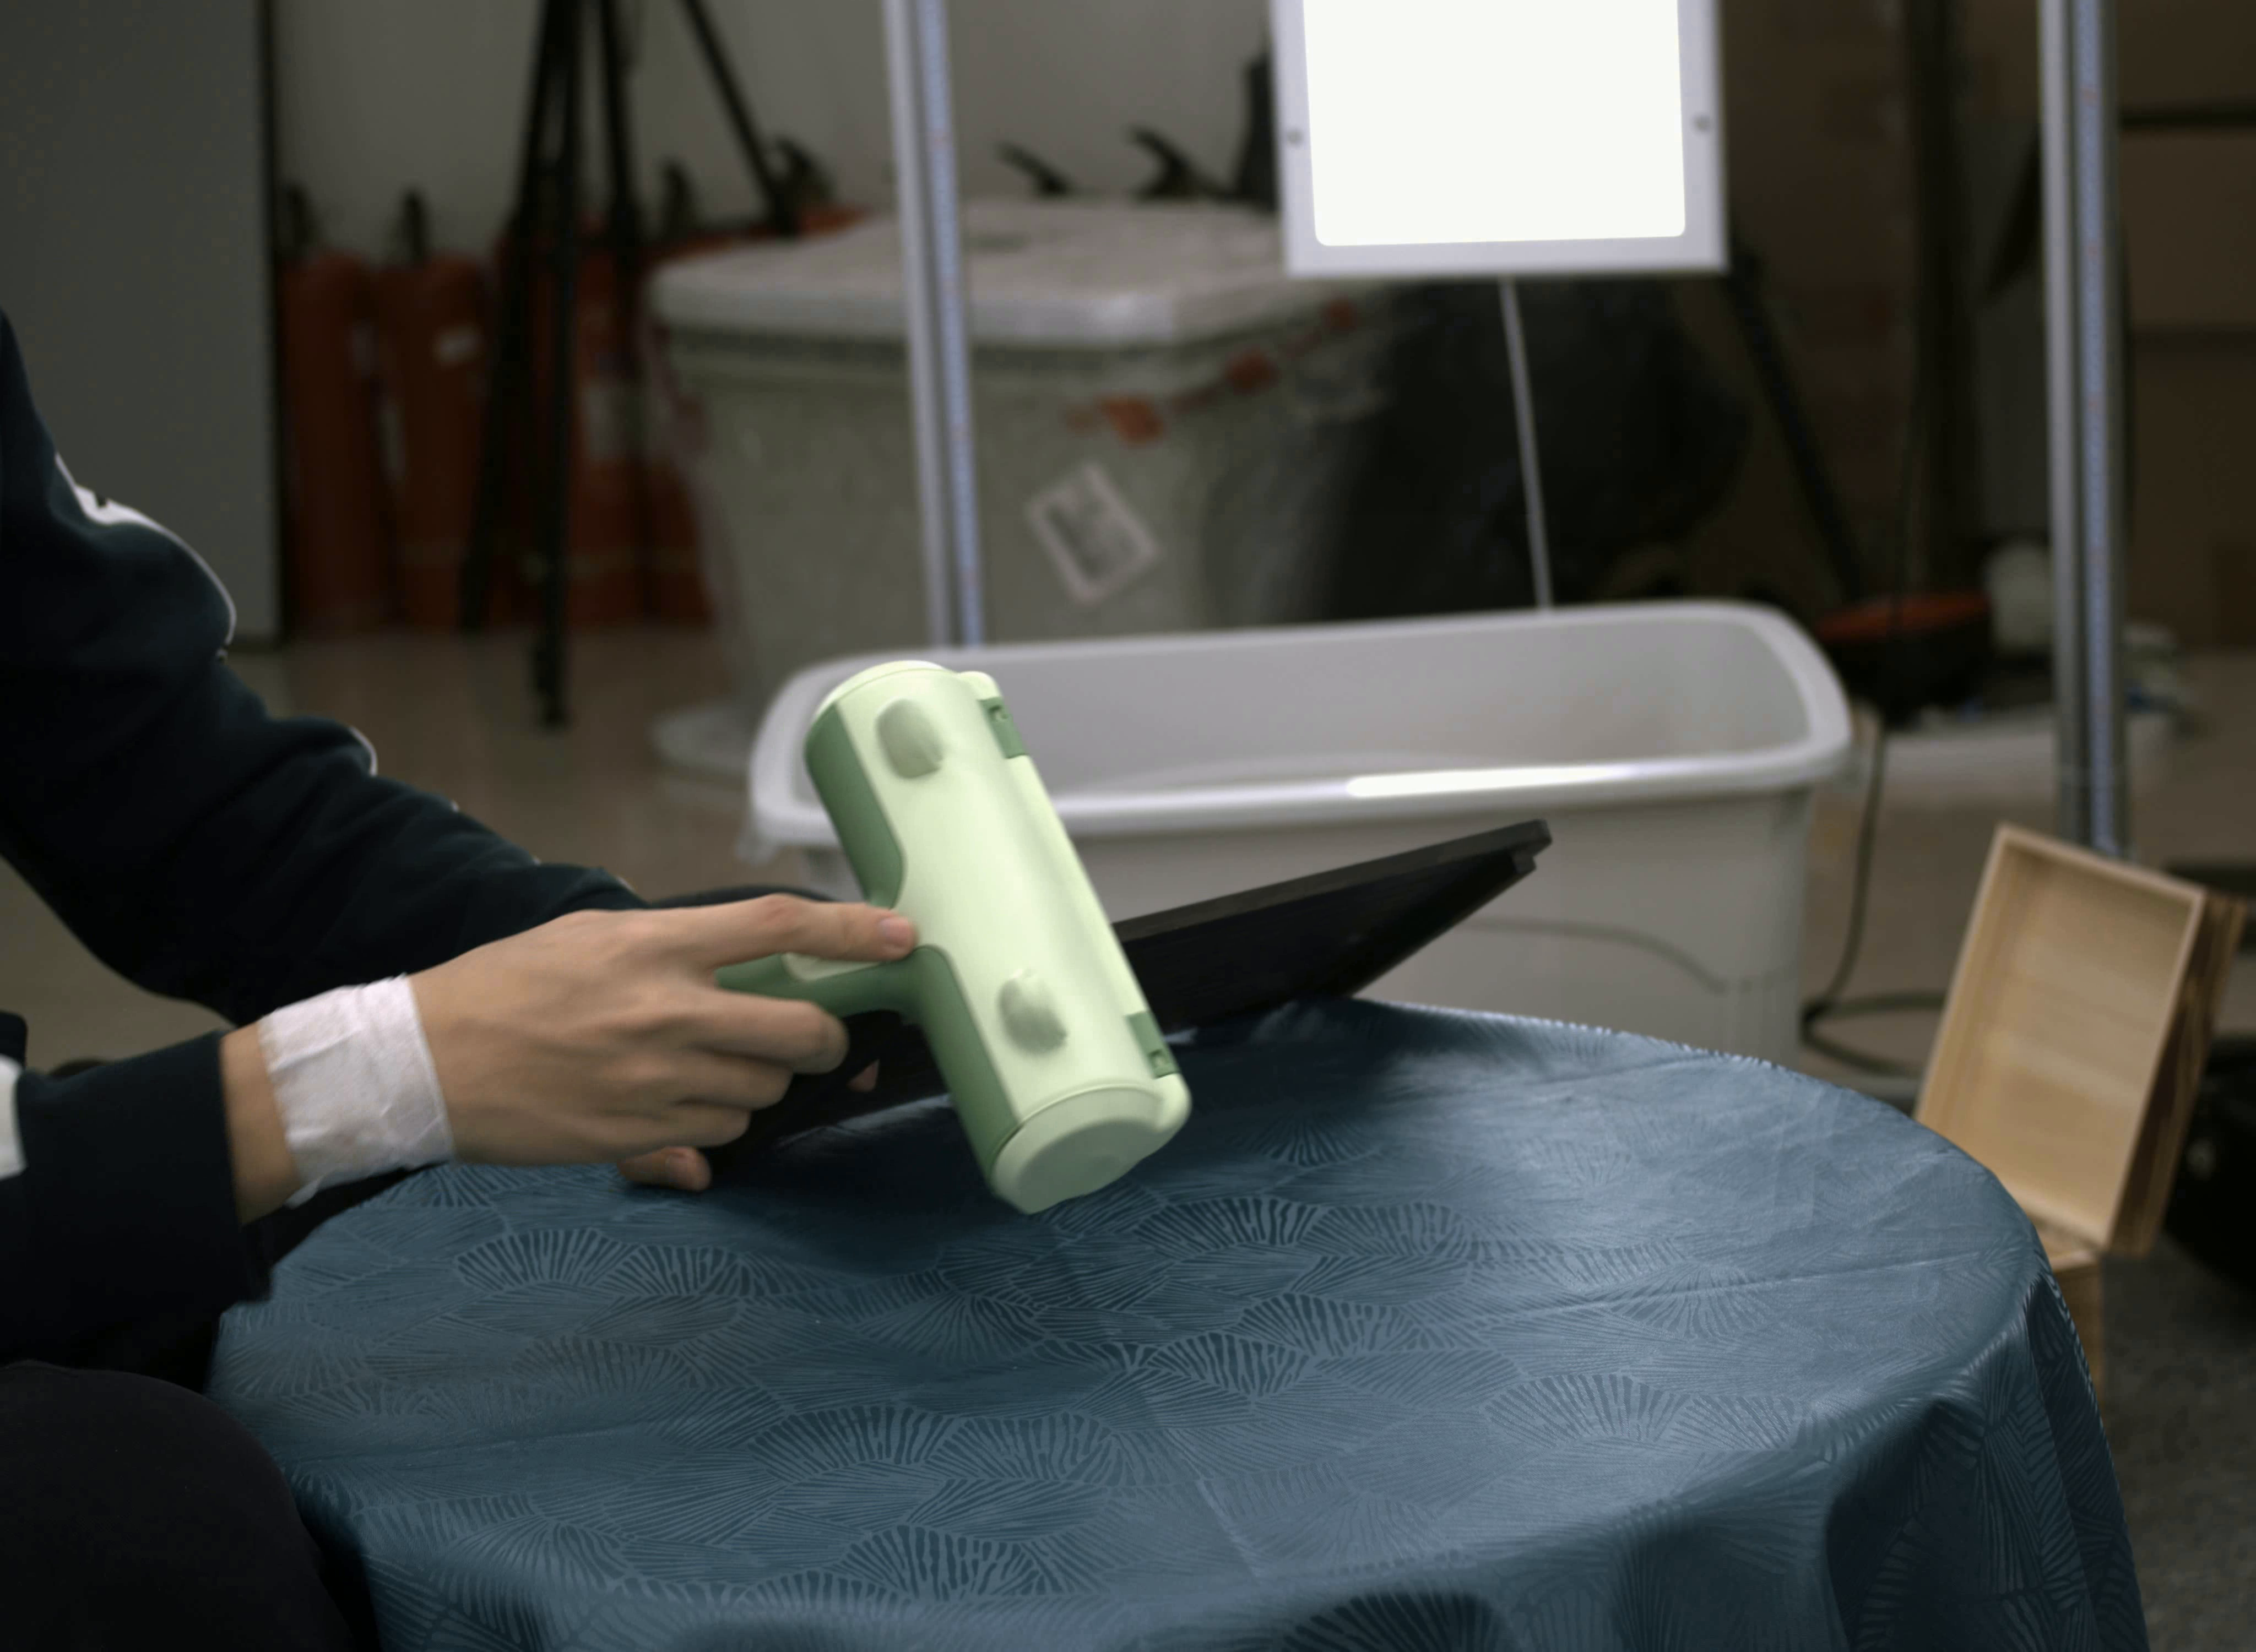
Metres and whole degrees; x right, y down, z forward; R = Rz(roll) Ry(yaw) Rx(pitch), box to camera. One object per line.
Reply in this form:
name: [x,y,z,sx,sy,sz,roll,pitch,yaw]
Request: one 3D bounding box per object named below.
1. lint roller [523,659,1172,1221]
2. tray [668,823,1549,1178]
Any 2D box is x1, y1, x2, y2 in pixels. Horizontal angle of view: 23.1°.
lint roller: [-0.102,0.040,1.742,0.180,0.083,0.200,-13,55,-16]
tray: [-0.004,0.063,1.962,0.299,0.019,0.173,-14,-14,-31]
